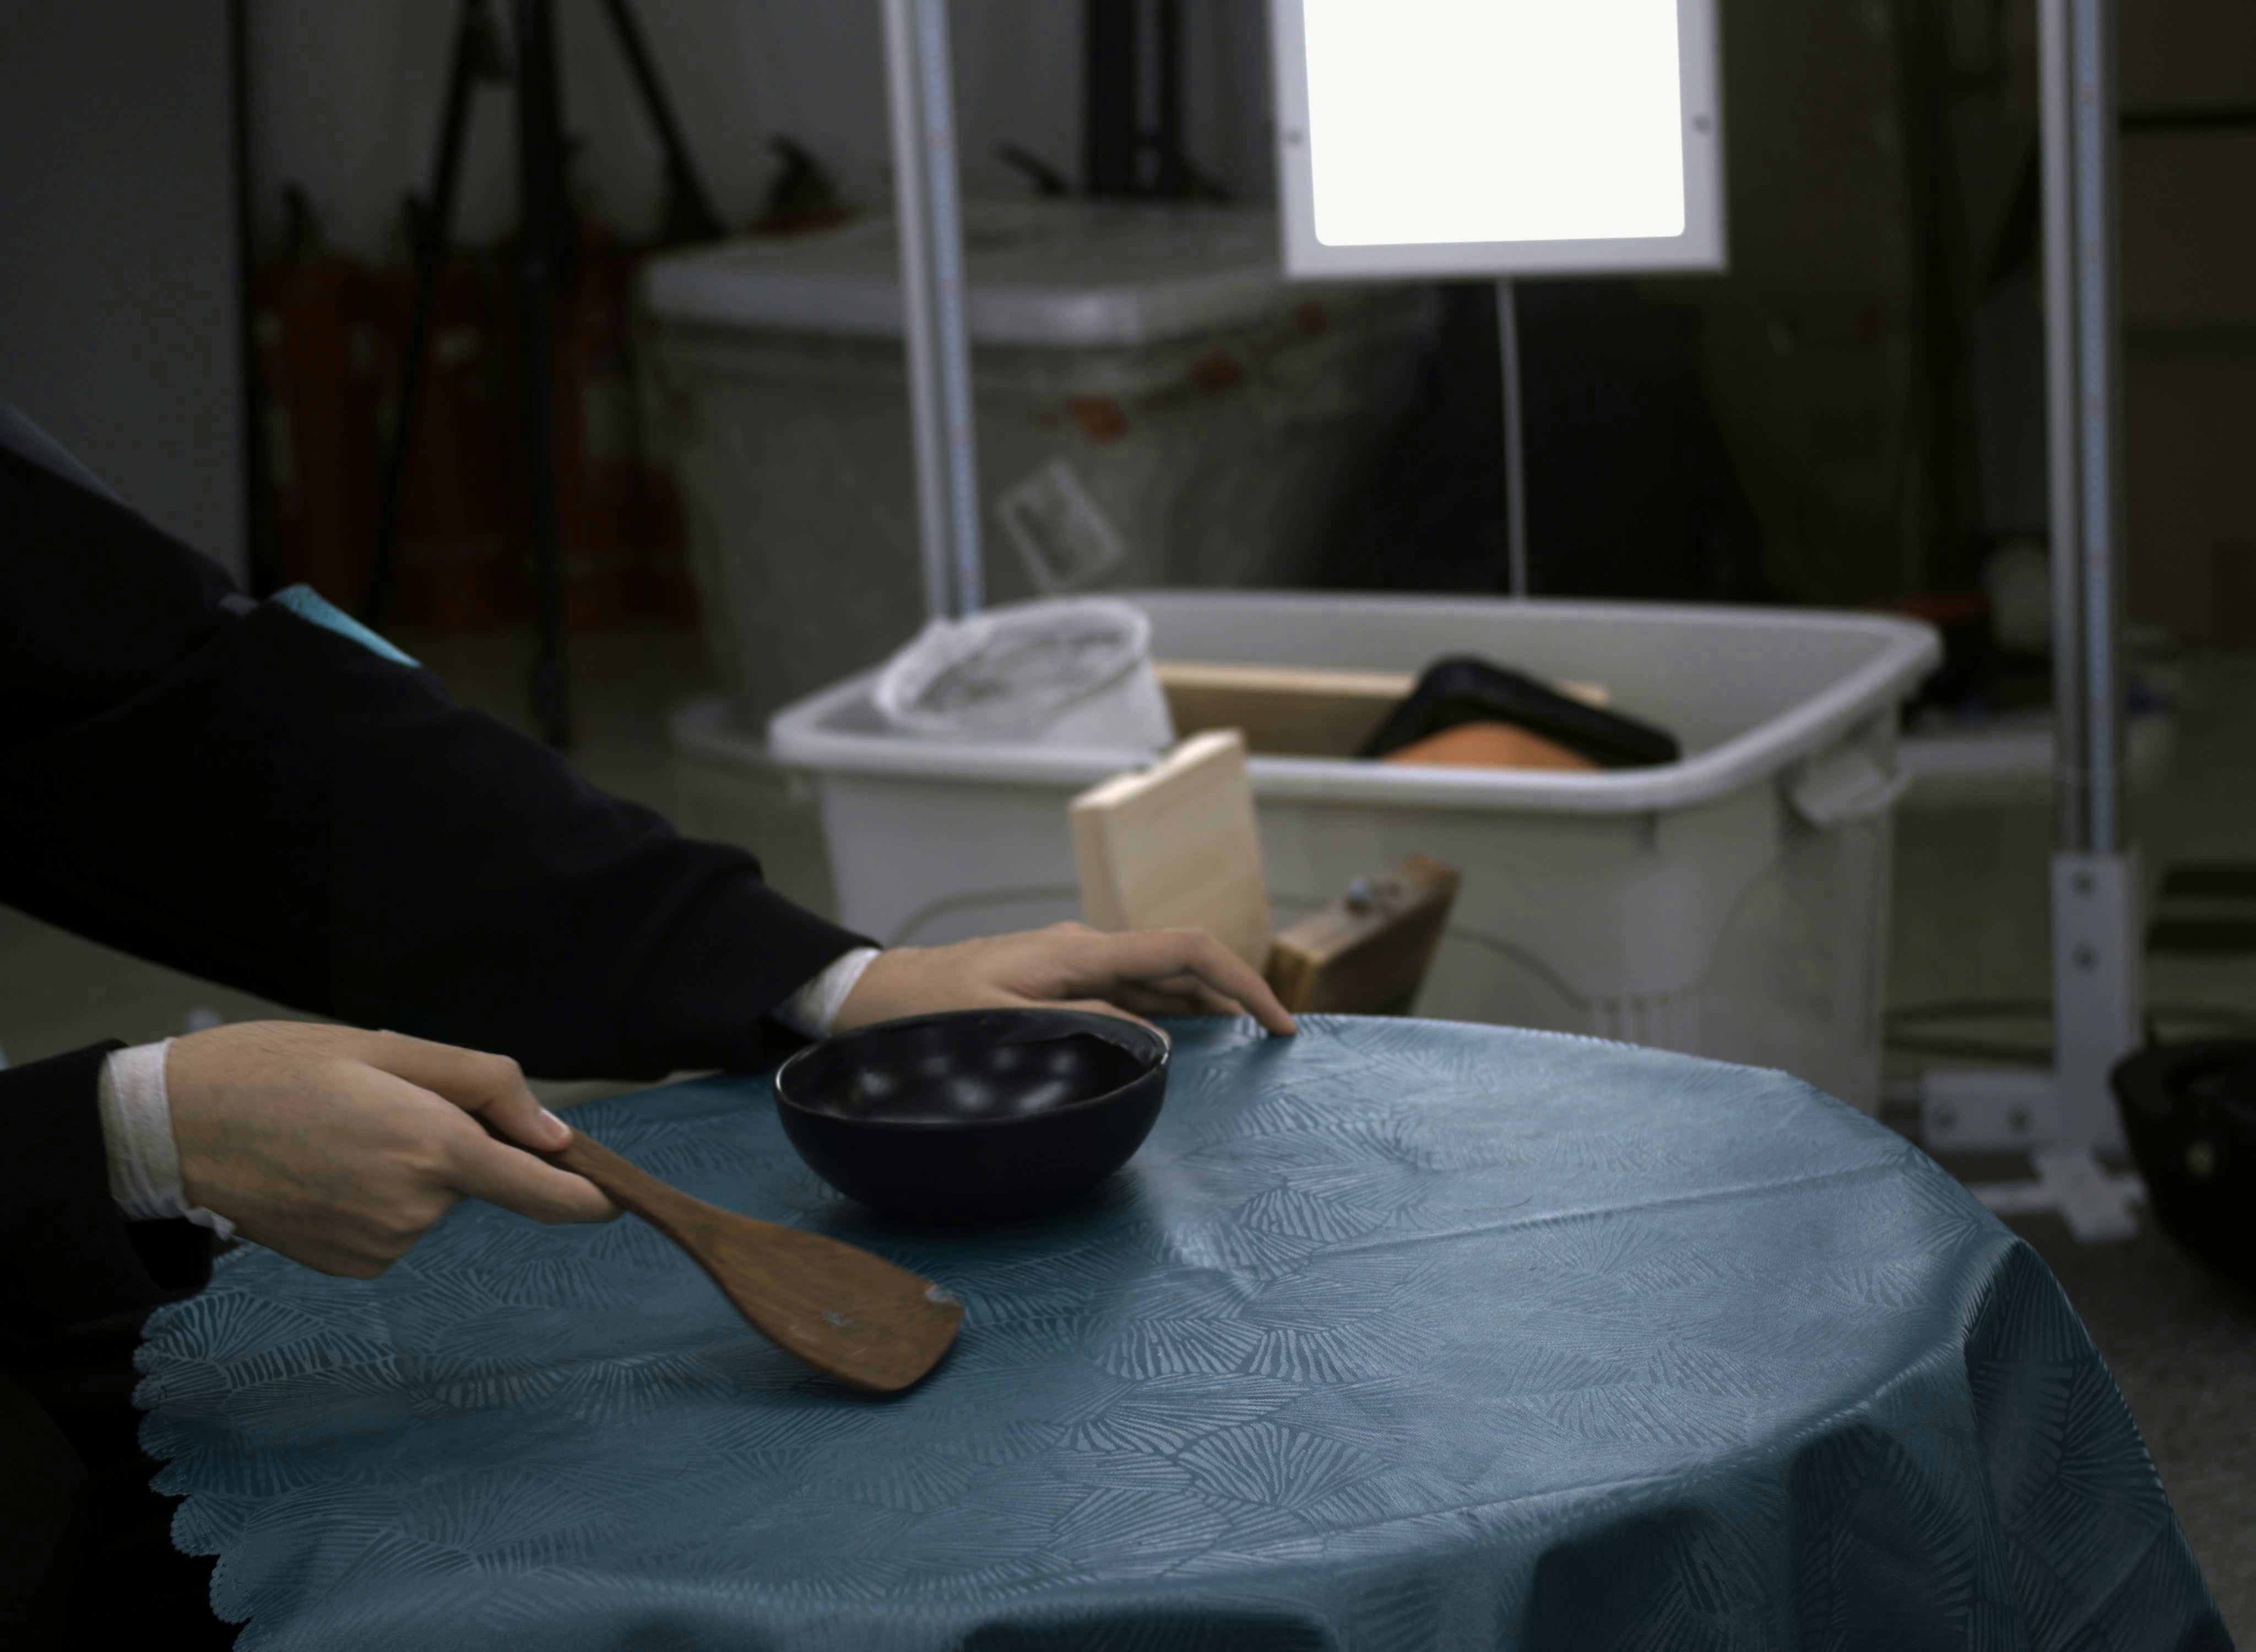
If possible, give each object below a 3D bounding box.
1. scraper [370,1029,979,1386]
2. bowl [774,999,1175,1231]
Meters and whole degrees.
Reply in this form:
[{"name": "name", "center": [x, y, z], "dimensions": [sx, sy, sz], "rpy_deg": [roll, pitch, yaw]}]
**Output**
[{"name": "scraper", "center": [-0.147, 0.118, 1.755], "dimensions": [0.212, 0.011, 0.074], "rpy_deg": [28, 27, 9]}, {"name": "bowl", "center": [-0.051, 0.105, 1.903], "dimensions": [0.140, 0.050, 0.140], "rpy_deg": [-6, 16, 0]}]
